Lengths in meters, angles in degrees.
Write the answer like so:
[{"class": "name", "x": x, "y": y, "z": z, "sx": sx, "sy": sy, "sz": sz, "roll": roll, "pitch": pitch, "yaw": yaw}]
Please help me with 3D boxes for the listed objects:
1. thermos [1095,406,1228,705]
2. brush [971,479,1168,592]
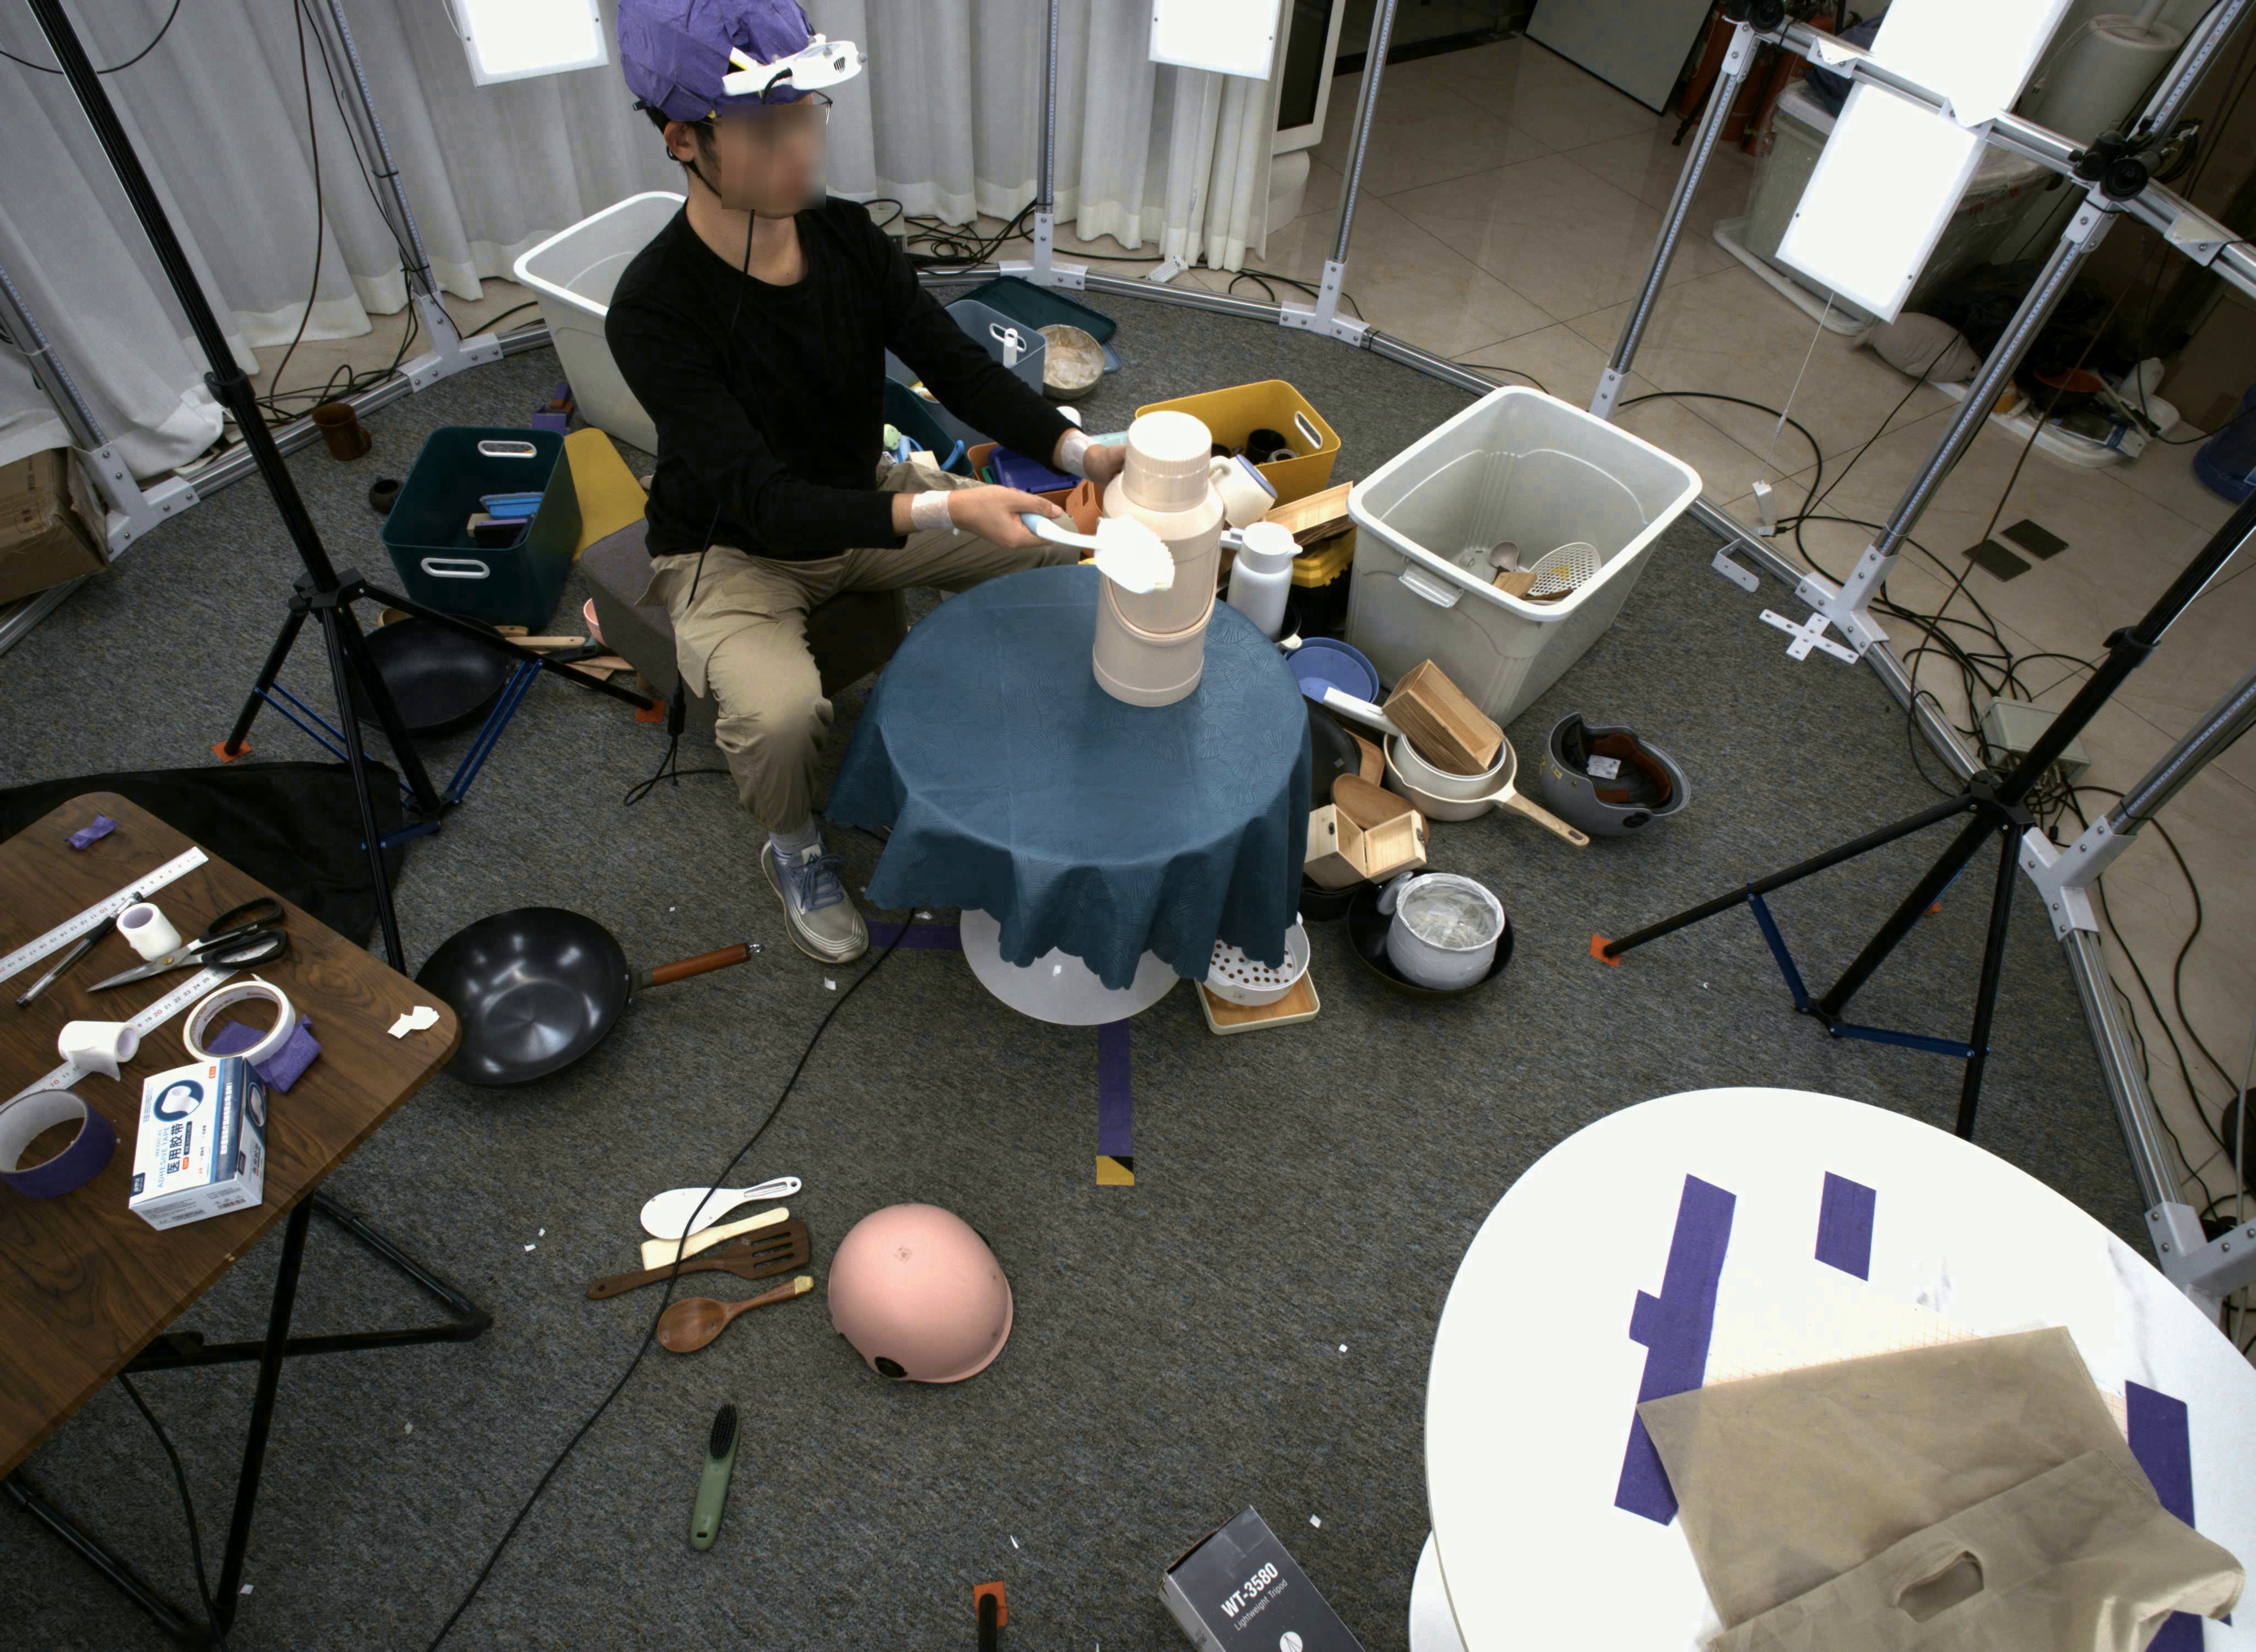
[{"class": "thermos", "x": 0.037, "y": -0.368, "z": 1.735, "sx": 0.175, "sy": 0.396, "sz": 0.212, "roll": -15, "pitch": 53, "yaw": -15}, {"class": "brush", "x": -0.066, "y": -0.381, "z": 1.626, "sx": 0.330, "sy": 0.083, "sz": 0.083, "roll": 34, "pitch": 94, "yaw": 31}]
